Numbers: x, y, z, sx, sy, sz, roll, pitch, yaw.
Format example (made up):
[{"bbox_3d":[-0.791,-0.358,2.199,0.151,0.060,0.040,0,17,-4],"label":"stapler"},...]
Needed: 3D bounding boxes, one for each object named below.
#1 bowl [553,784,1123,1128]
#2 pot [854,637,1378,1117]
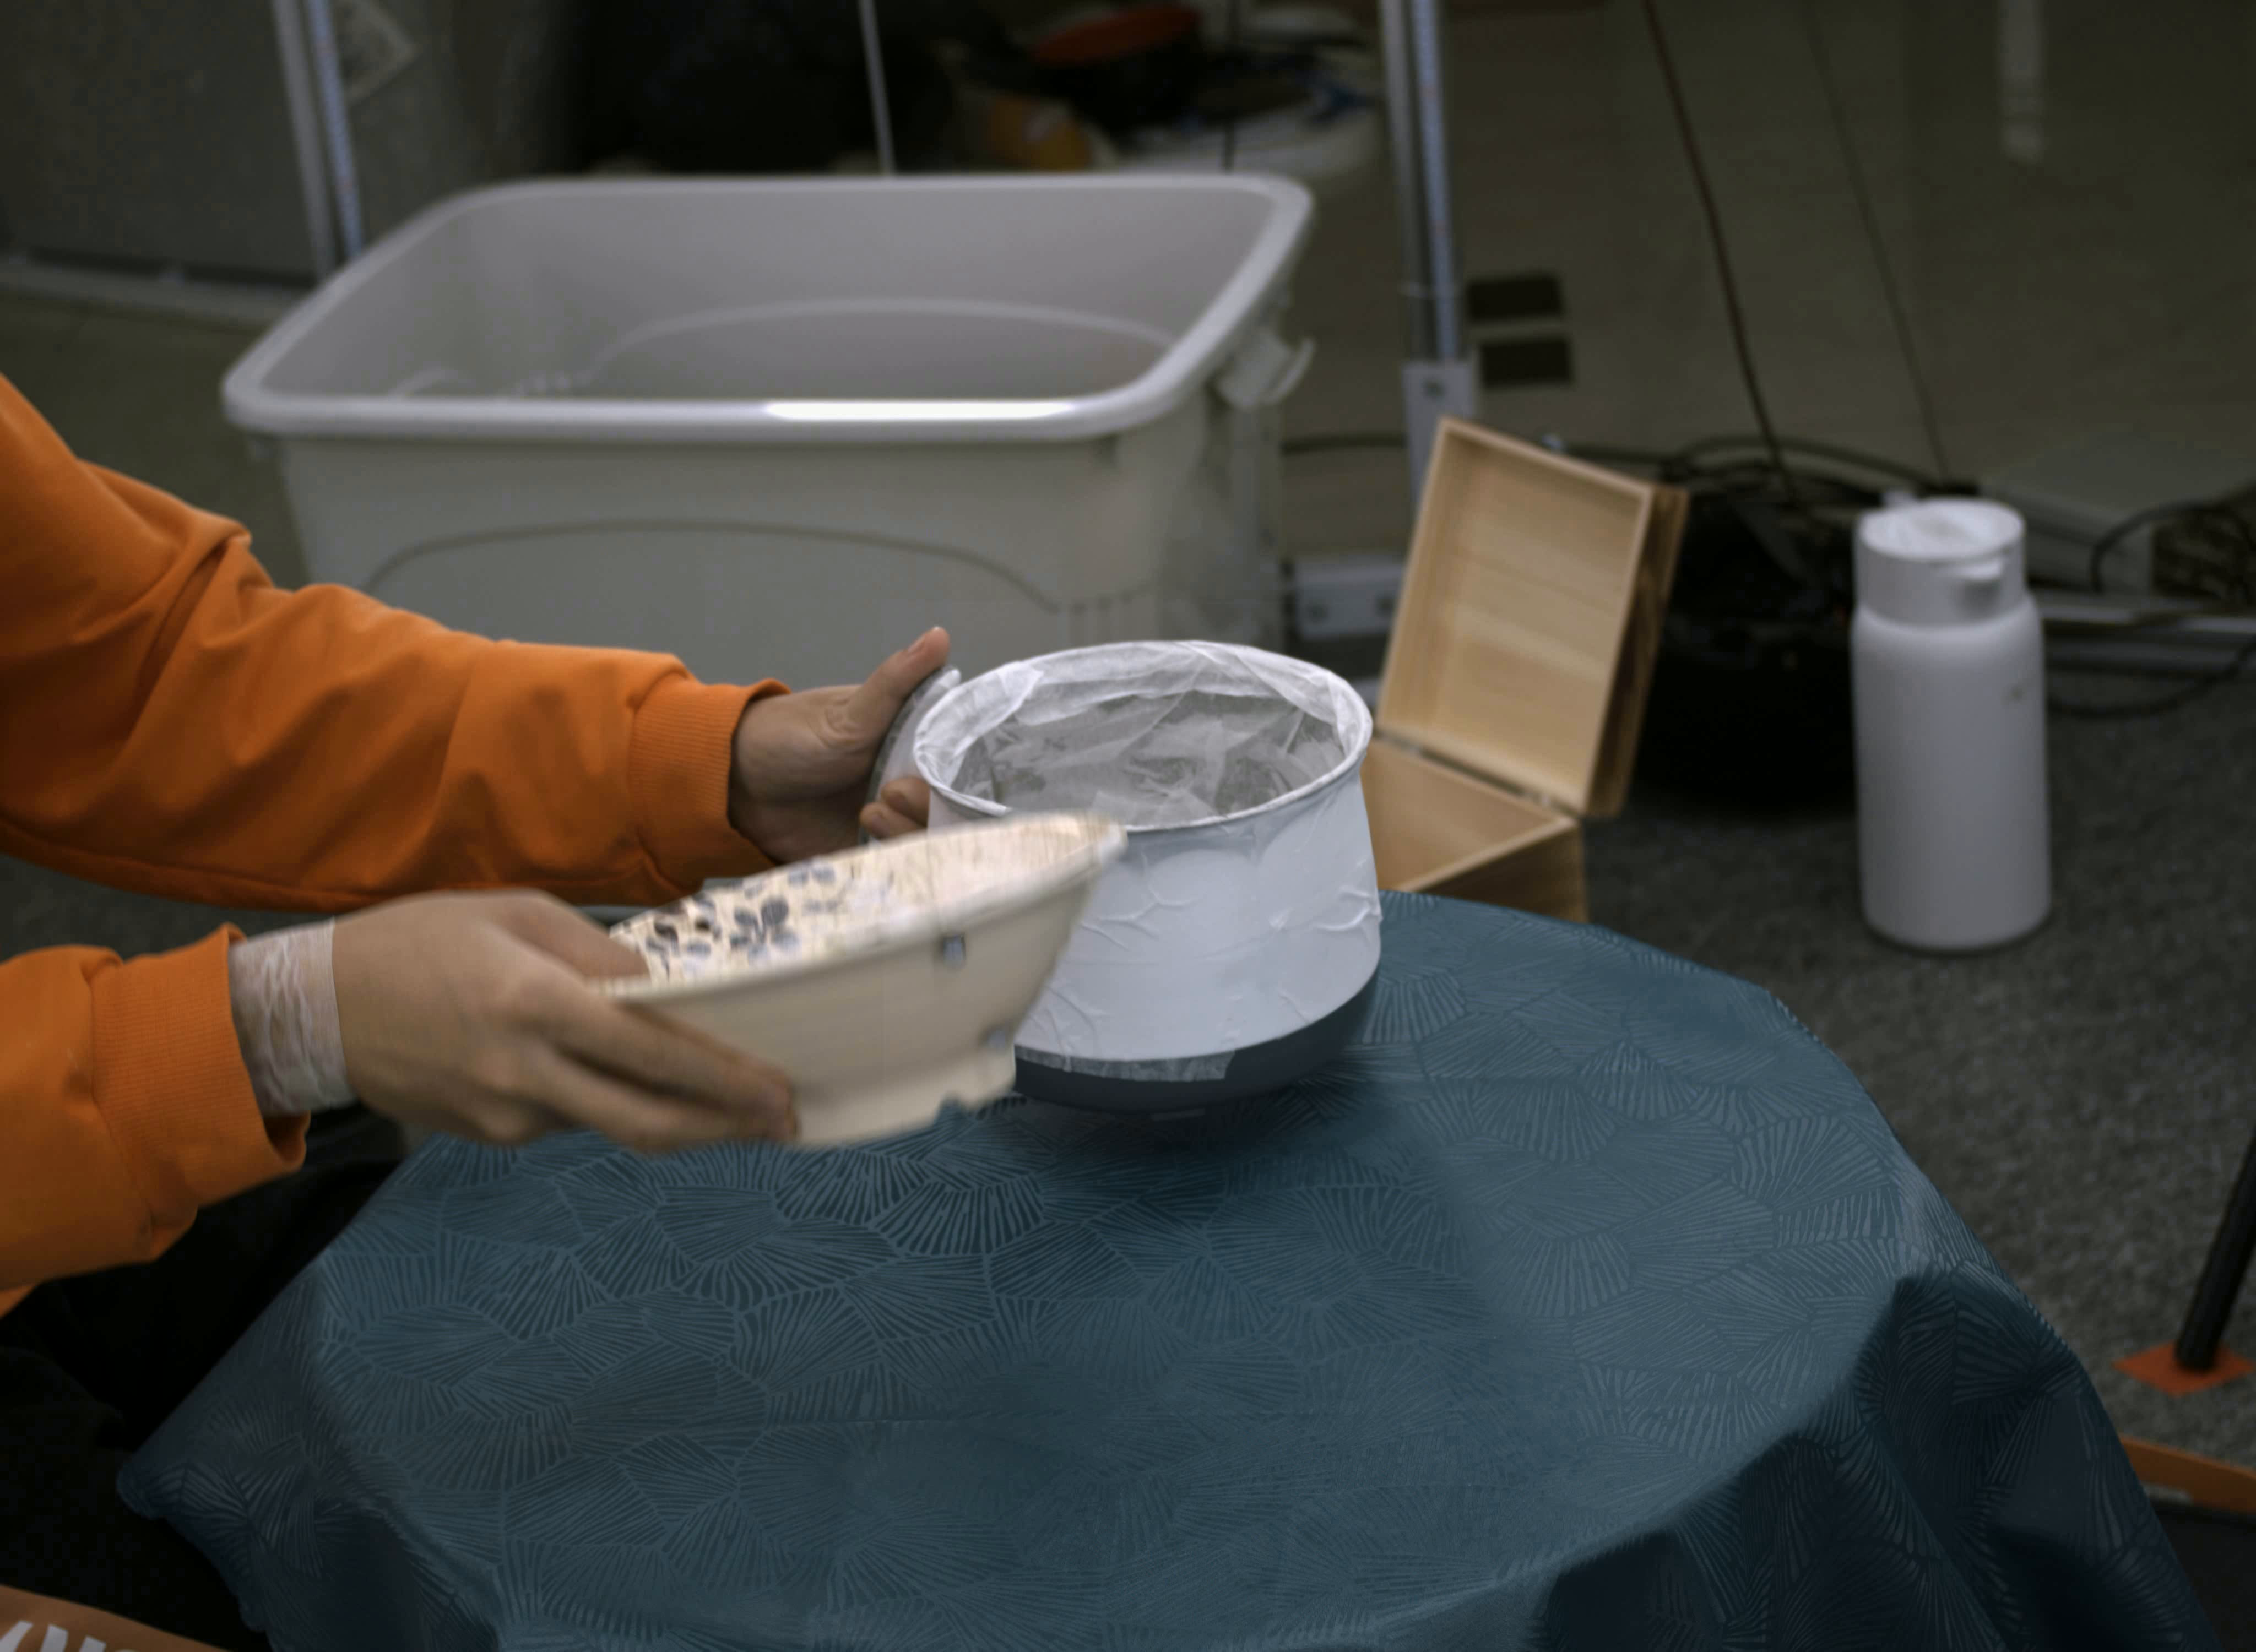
[{"bbox_3d":[-0.088,0.052,1.935,0.204,0.078,0.203,-17,7,2],"label":"bowl"},{"bbox_3d":[-0.014,0.014,2.204,0.232,0.139,0.177,16,31,34],"label":"pot"}]
